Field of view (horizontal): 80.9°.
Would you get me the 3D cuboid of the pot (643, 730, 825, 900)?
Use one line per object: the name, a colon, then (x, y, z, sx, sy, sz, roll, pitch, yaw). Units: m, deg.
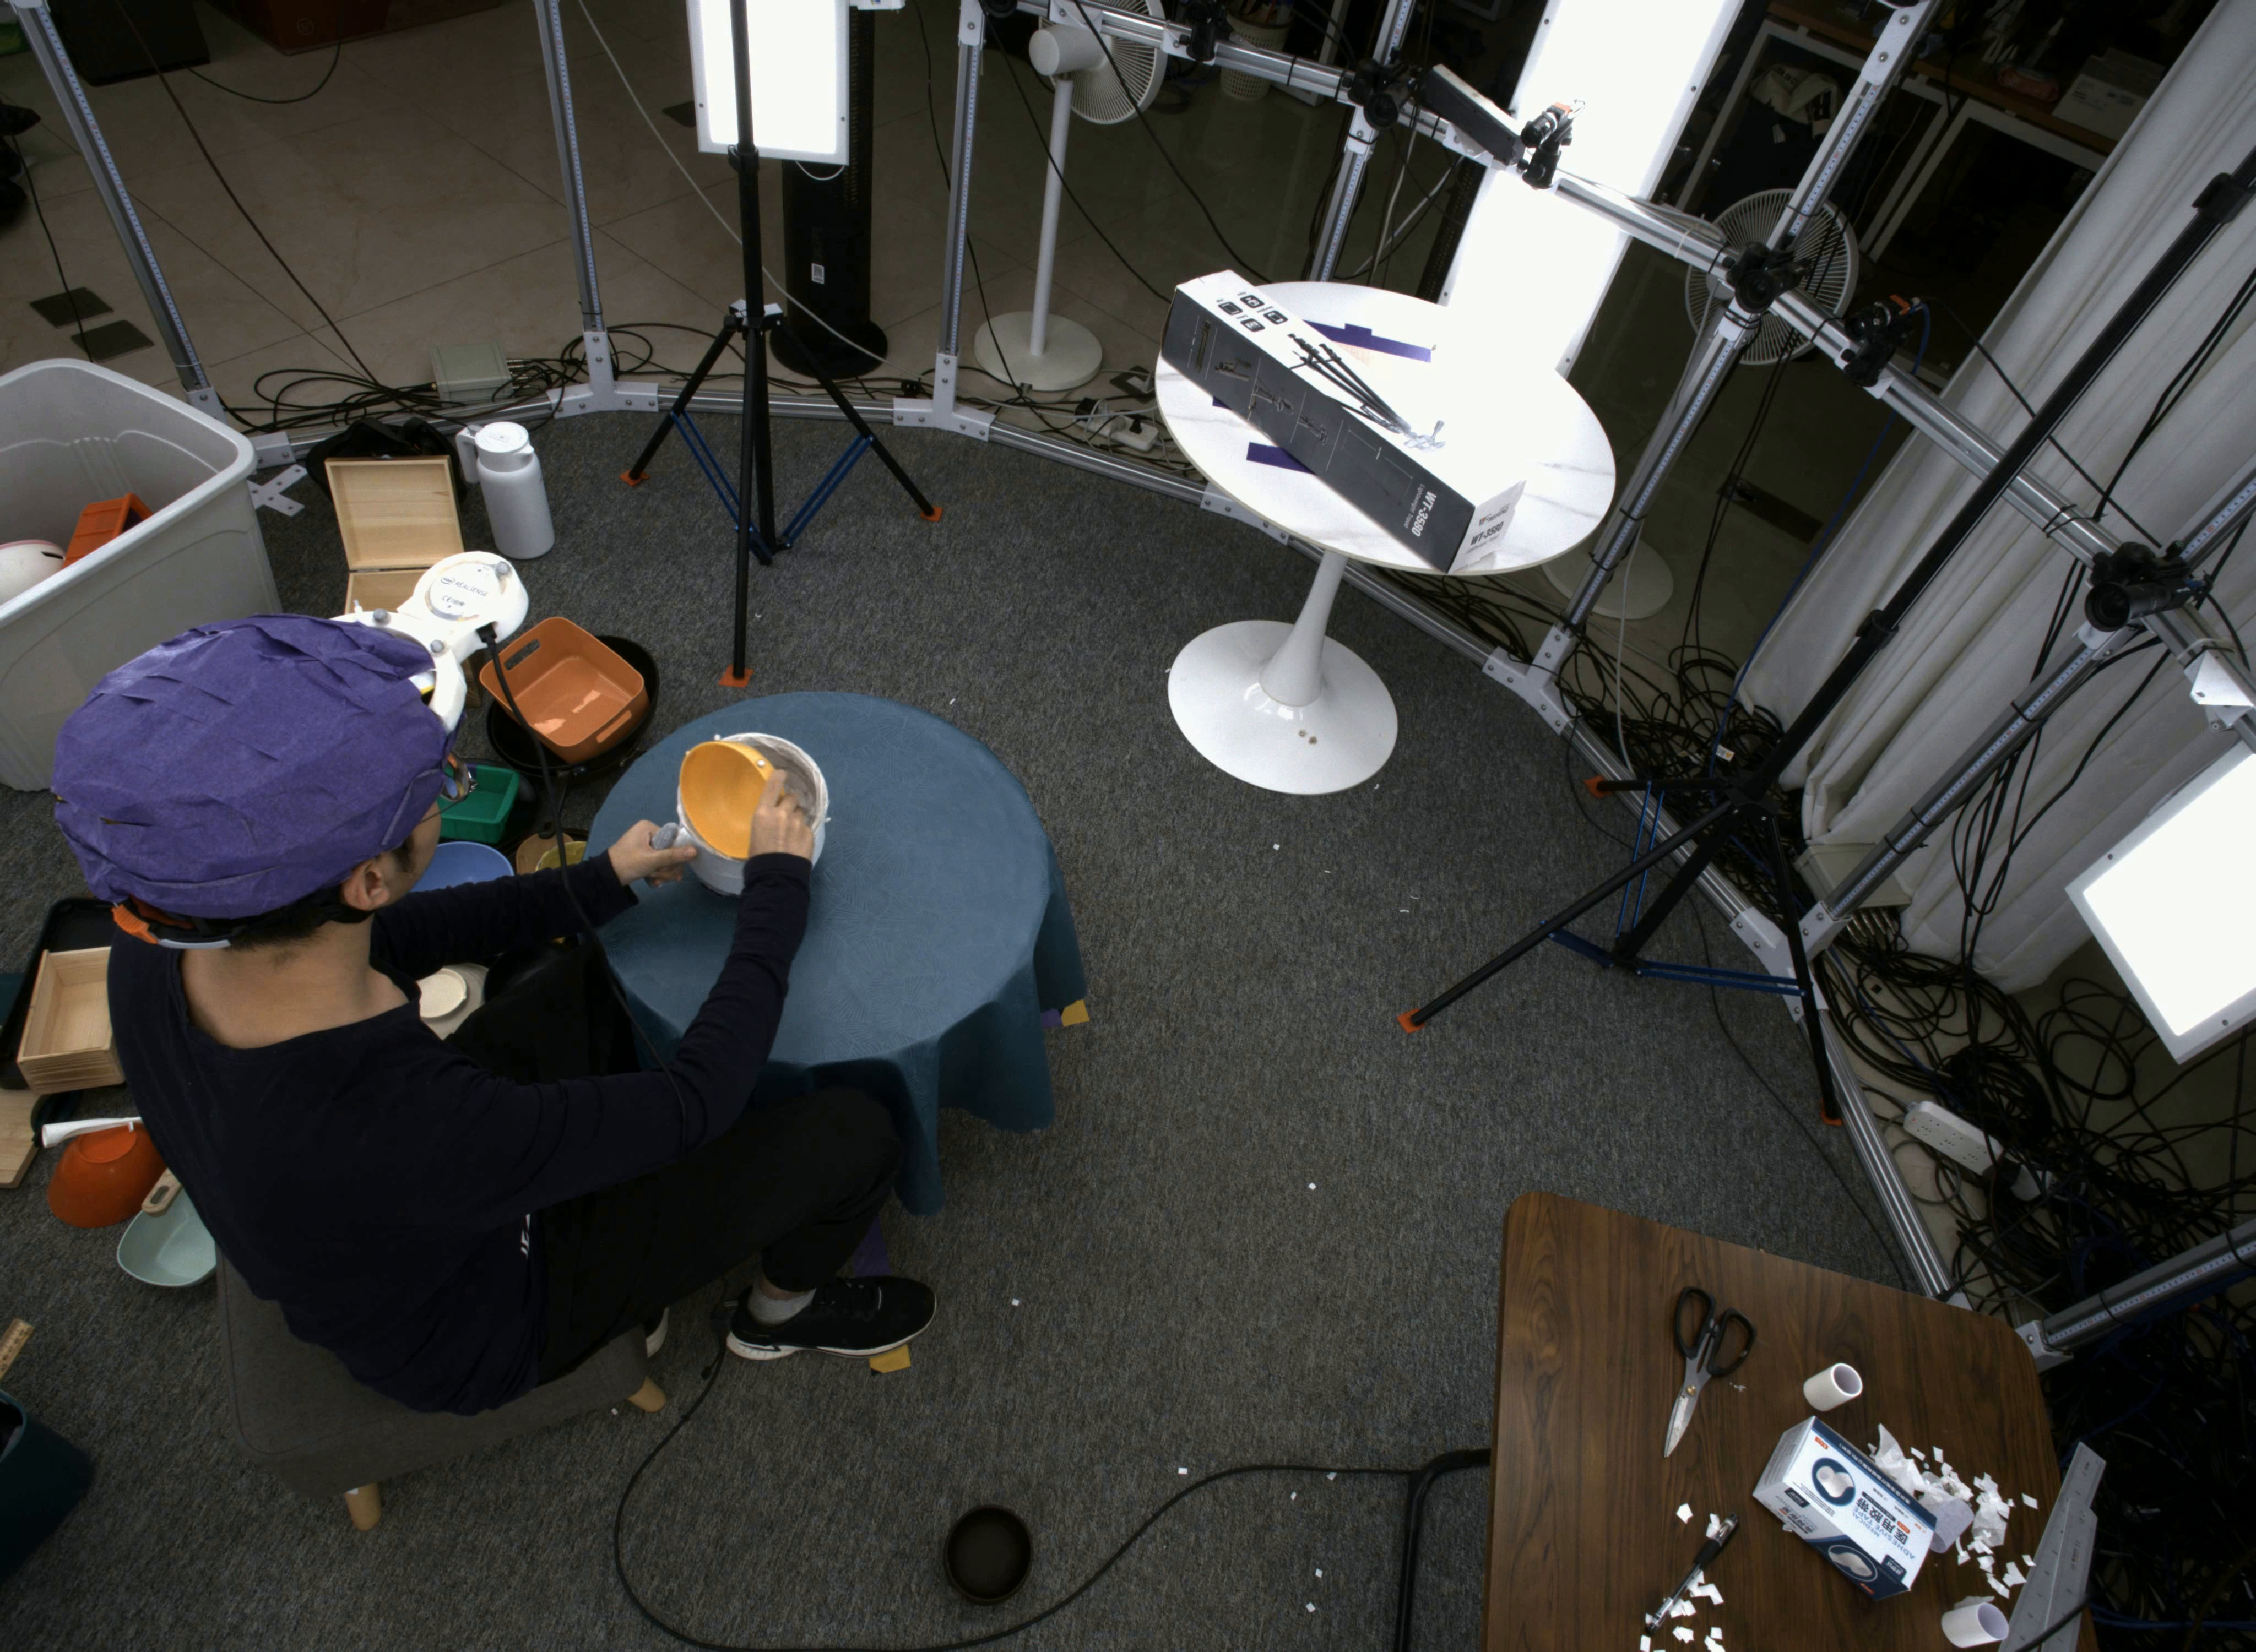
pot: (-0.490, 0.002, 1.599, 0.234, 0.138, 0.176, -27, 75, -25)

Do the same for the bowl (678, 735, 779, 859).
bowl: (-0.454, -0.041, 1.504, 0.142, 0.147, 0.060, 35, 32, 14)
